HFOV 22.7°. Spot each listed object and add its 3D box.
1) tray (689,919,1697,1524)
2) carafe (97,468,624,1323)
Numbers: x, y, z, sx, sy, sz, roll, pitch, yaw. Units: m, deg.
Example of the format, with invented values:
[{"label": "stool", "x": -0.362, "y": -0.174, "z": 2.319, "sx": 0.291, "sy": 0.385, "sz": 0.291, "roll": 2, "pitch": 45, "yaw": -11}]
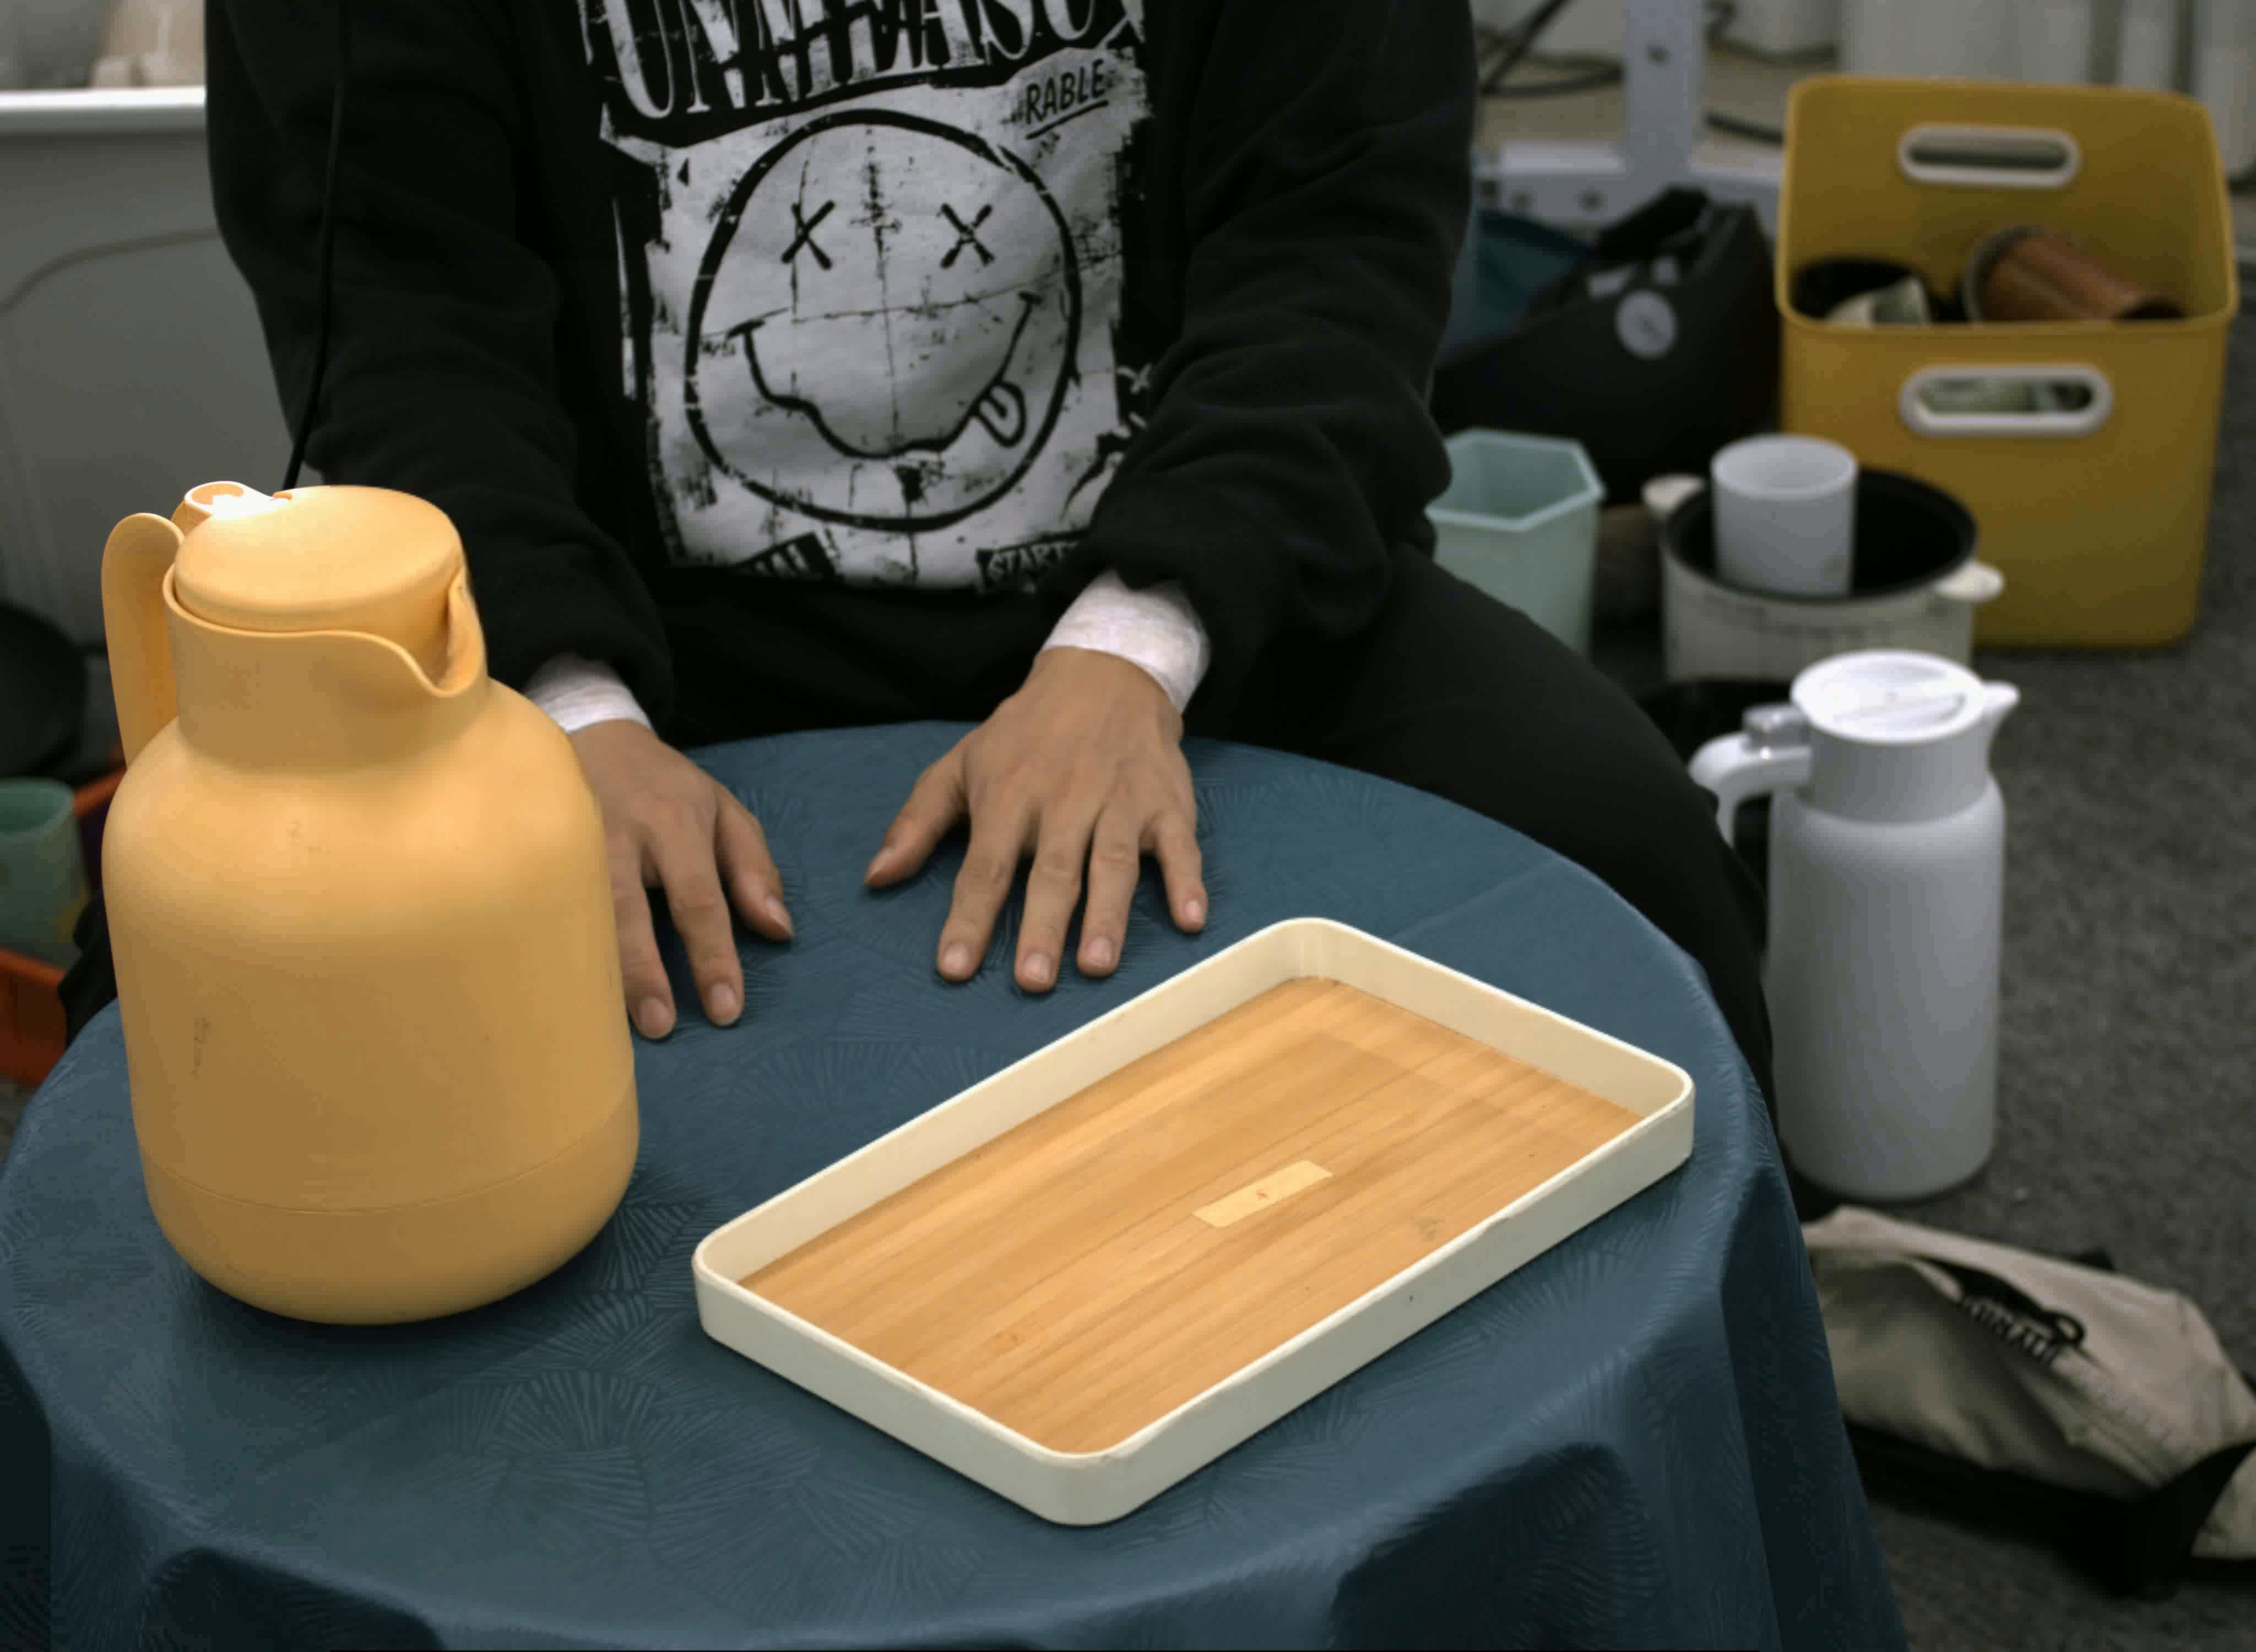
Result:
[{"label": "tray", "x": 0.024, "y": 0.122, "z": 1.827, "sx": 0.191, "sy": 0.027, "sz": 0.304, "roll": 23, "pitch": 36, "yaw": 39}, {"label": "carafe", "x": -0.259, "y": 0.012, "z": 1.815, "sx": 0.165, "sy": 0.257, "sz": 0.202, "roll": -19, "pitch": 32, "yaw": -34}]
